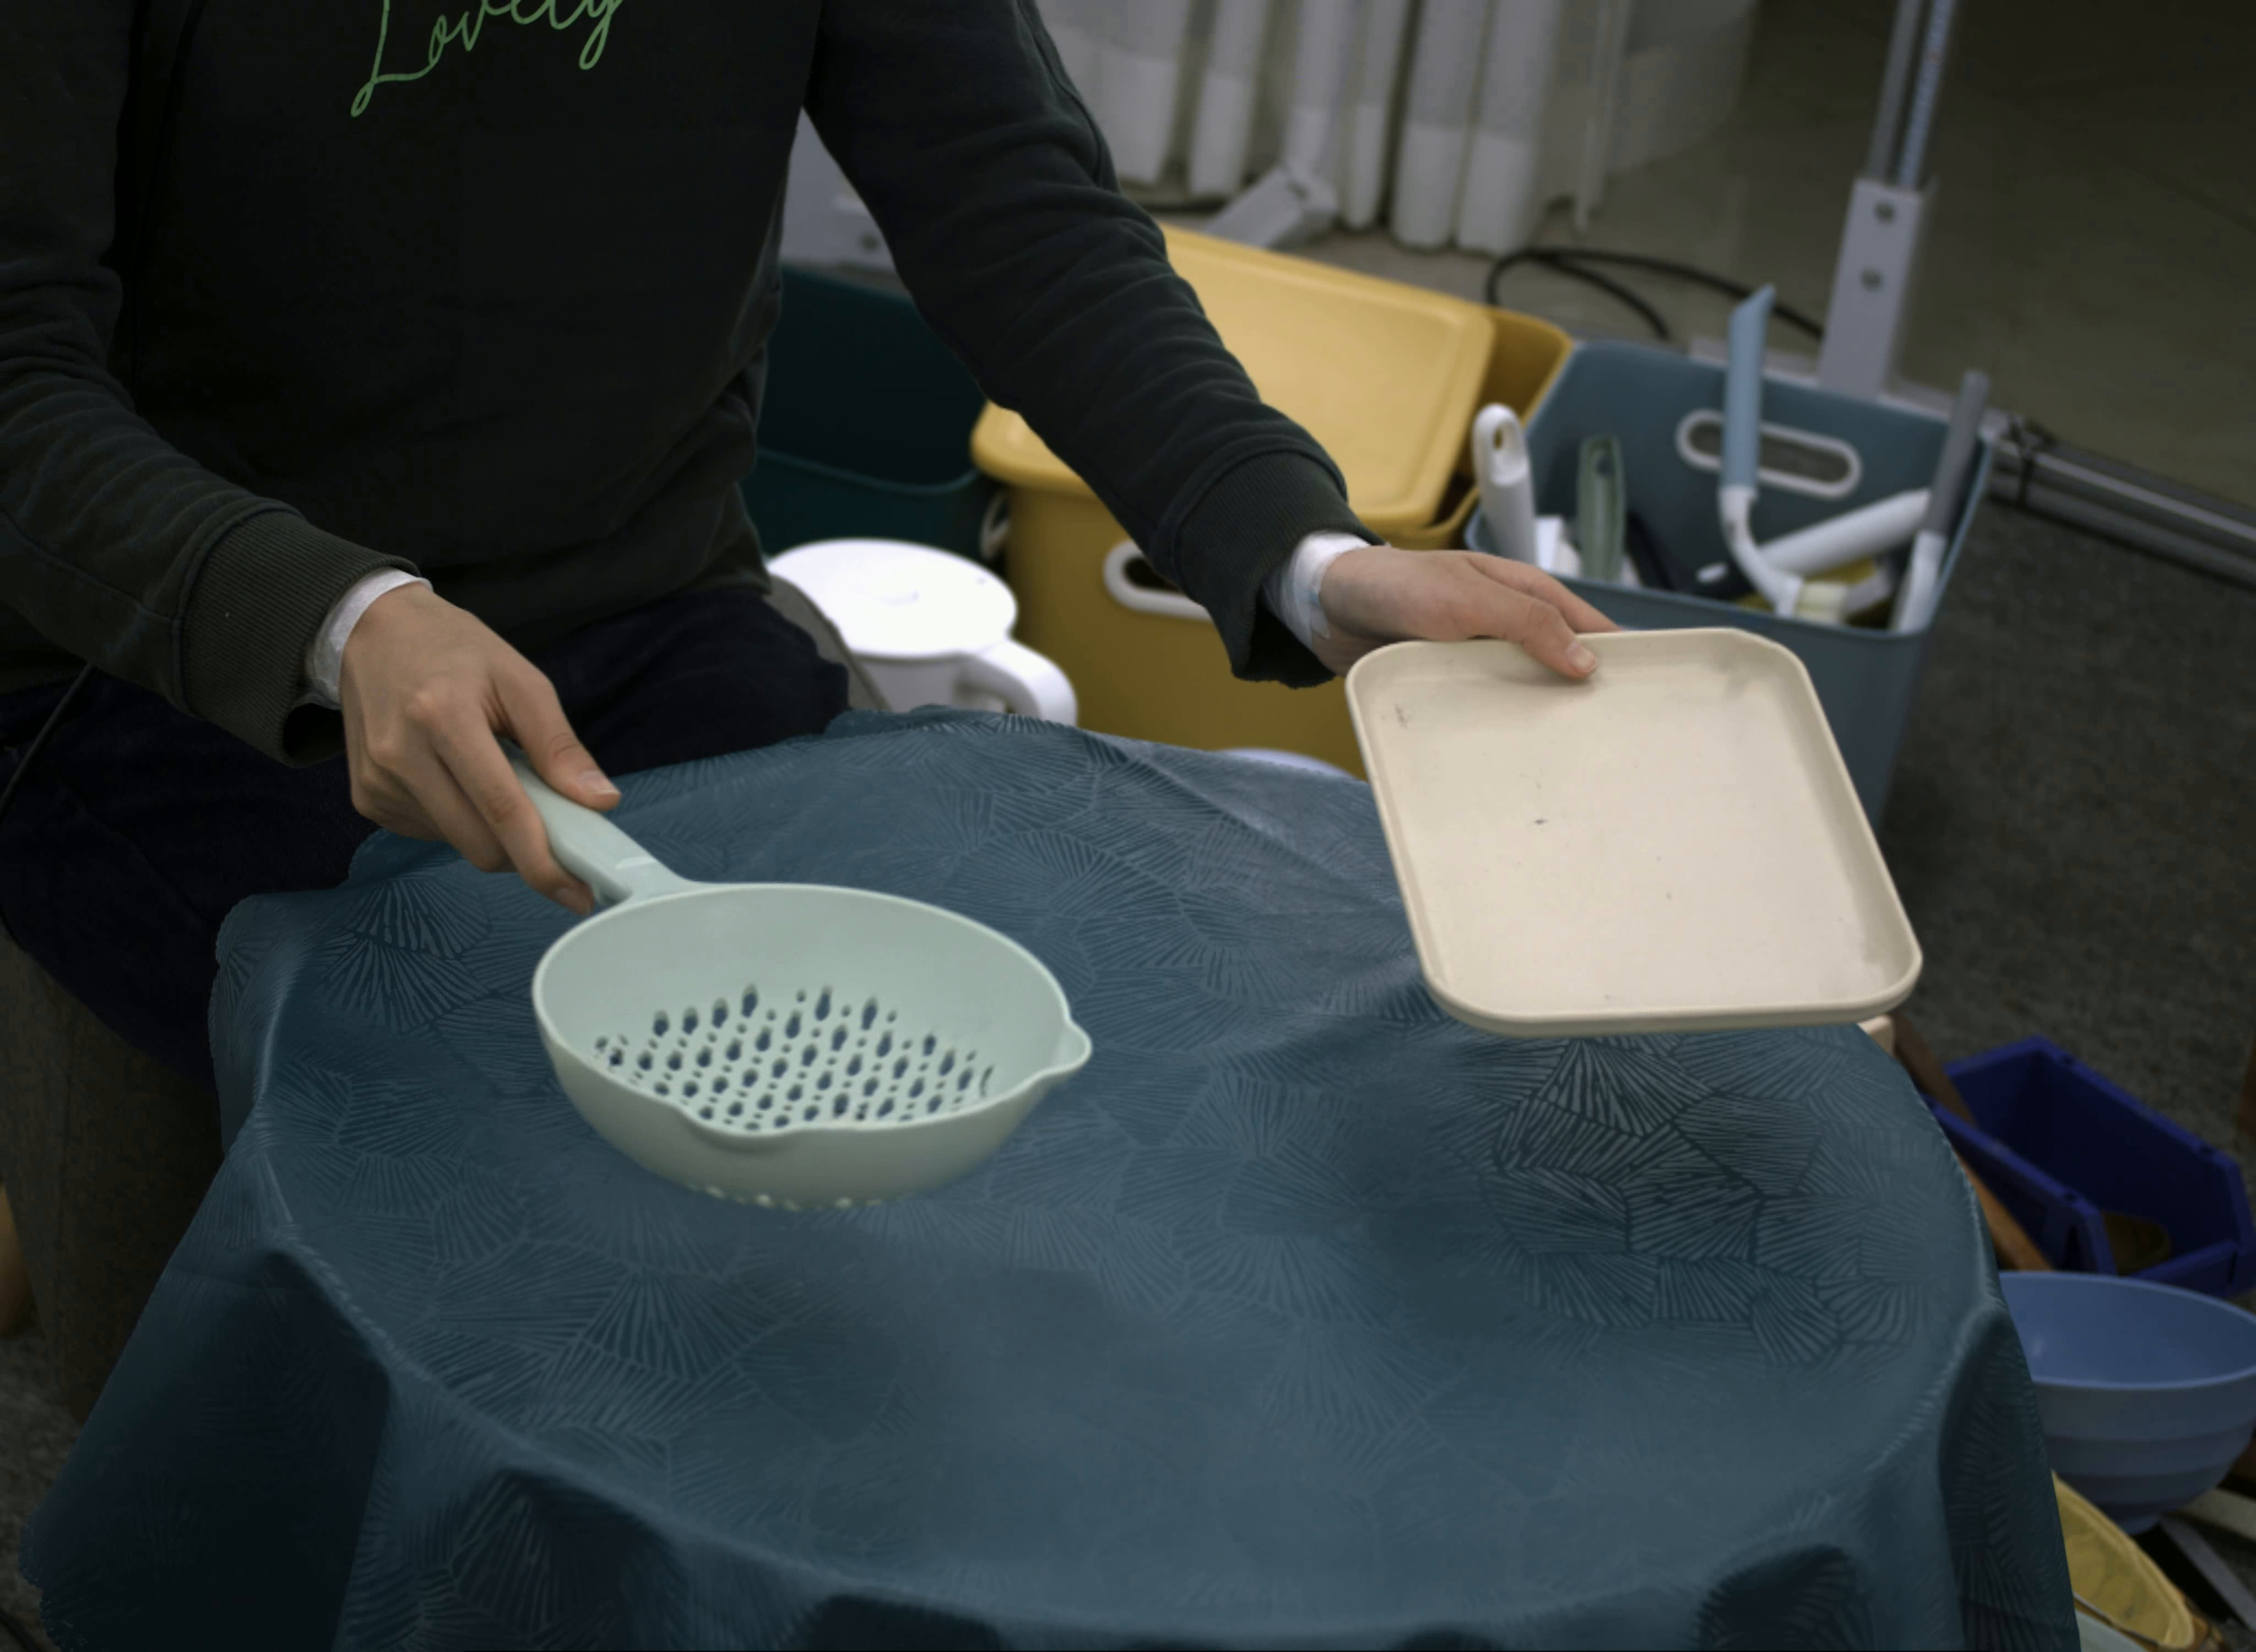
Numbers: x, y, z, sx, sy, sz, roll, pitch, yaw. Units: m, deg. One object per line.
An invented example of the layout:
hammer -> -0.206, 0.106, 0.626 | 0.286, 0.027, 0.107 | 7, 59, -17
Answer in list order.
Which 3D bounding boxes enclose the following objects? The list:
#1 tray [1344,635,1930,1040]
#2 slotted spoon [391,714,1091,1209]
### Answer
tray -> 0.172, 0.003, 1.847 | 0.170, 0.017, 0.241 | -3, 32, -6
slotted spoon -> -0.157, 0.029, 1.742 | 0.168, 0.075, 0.362 | -8, 34, -33
